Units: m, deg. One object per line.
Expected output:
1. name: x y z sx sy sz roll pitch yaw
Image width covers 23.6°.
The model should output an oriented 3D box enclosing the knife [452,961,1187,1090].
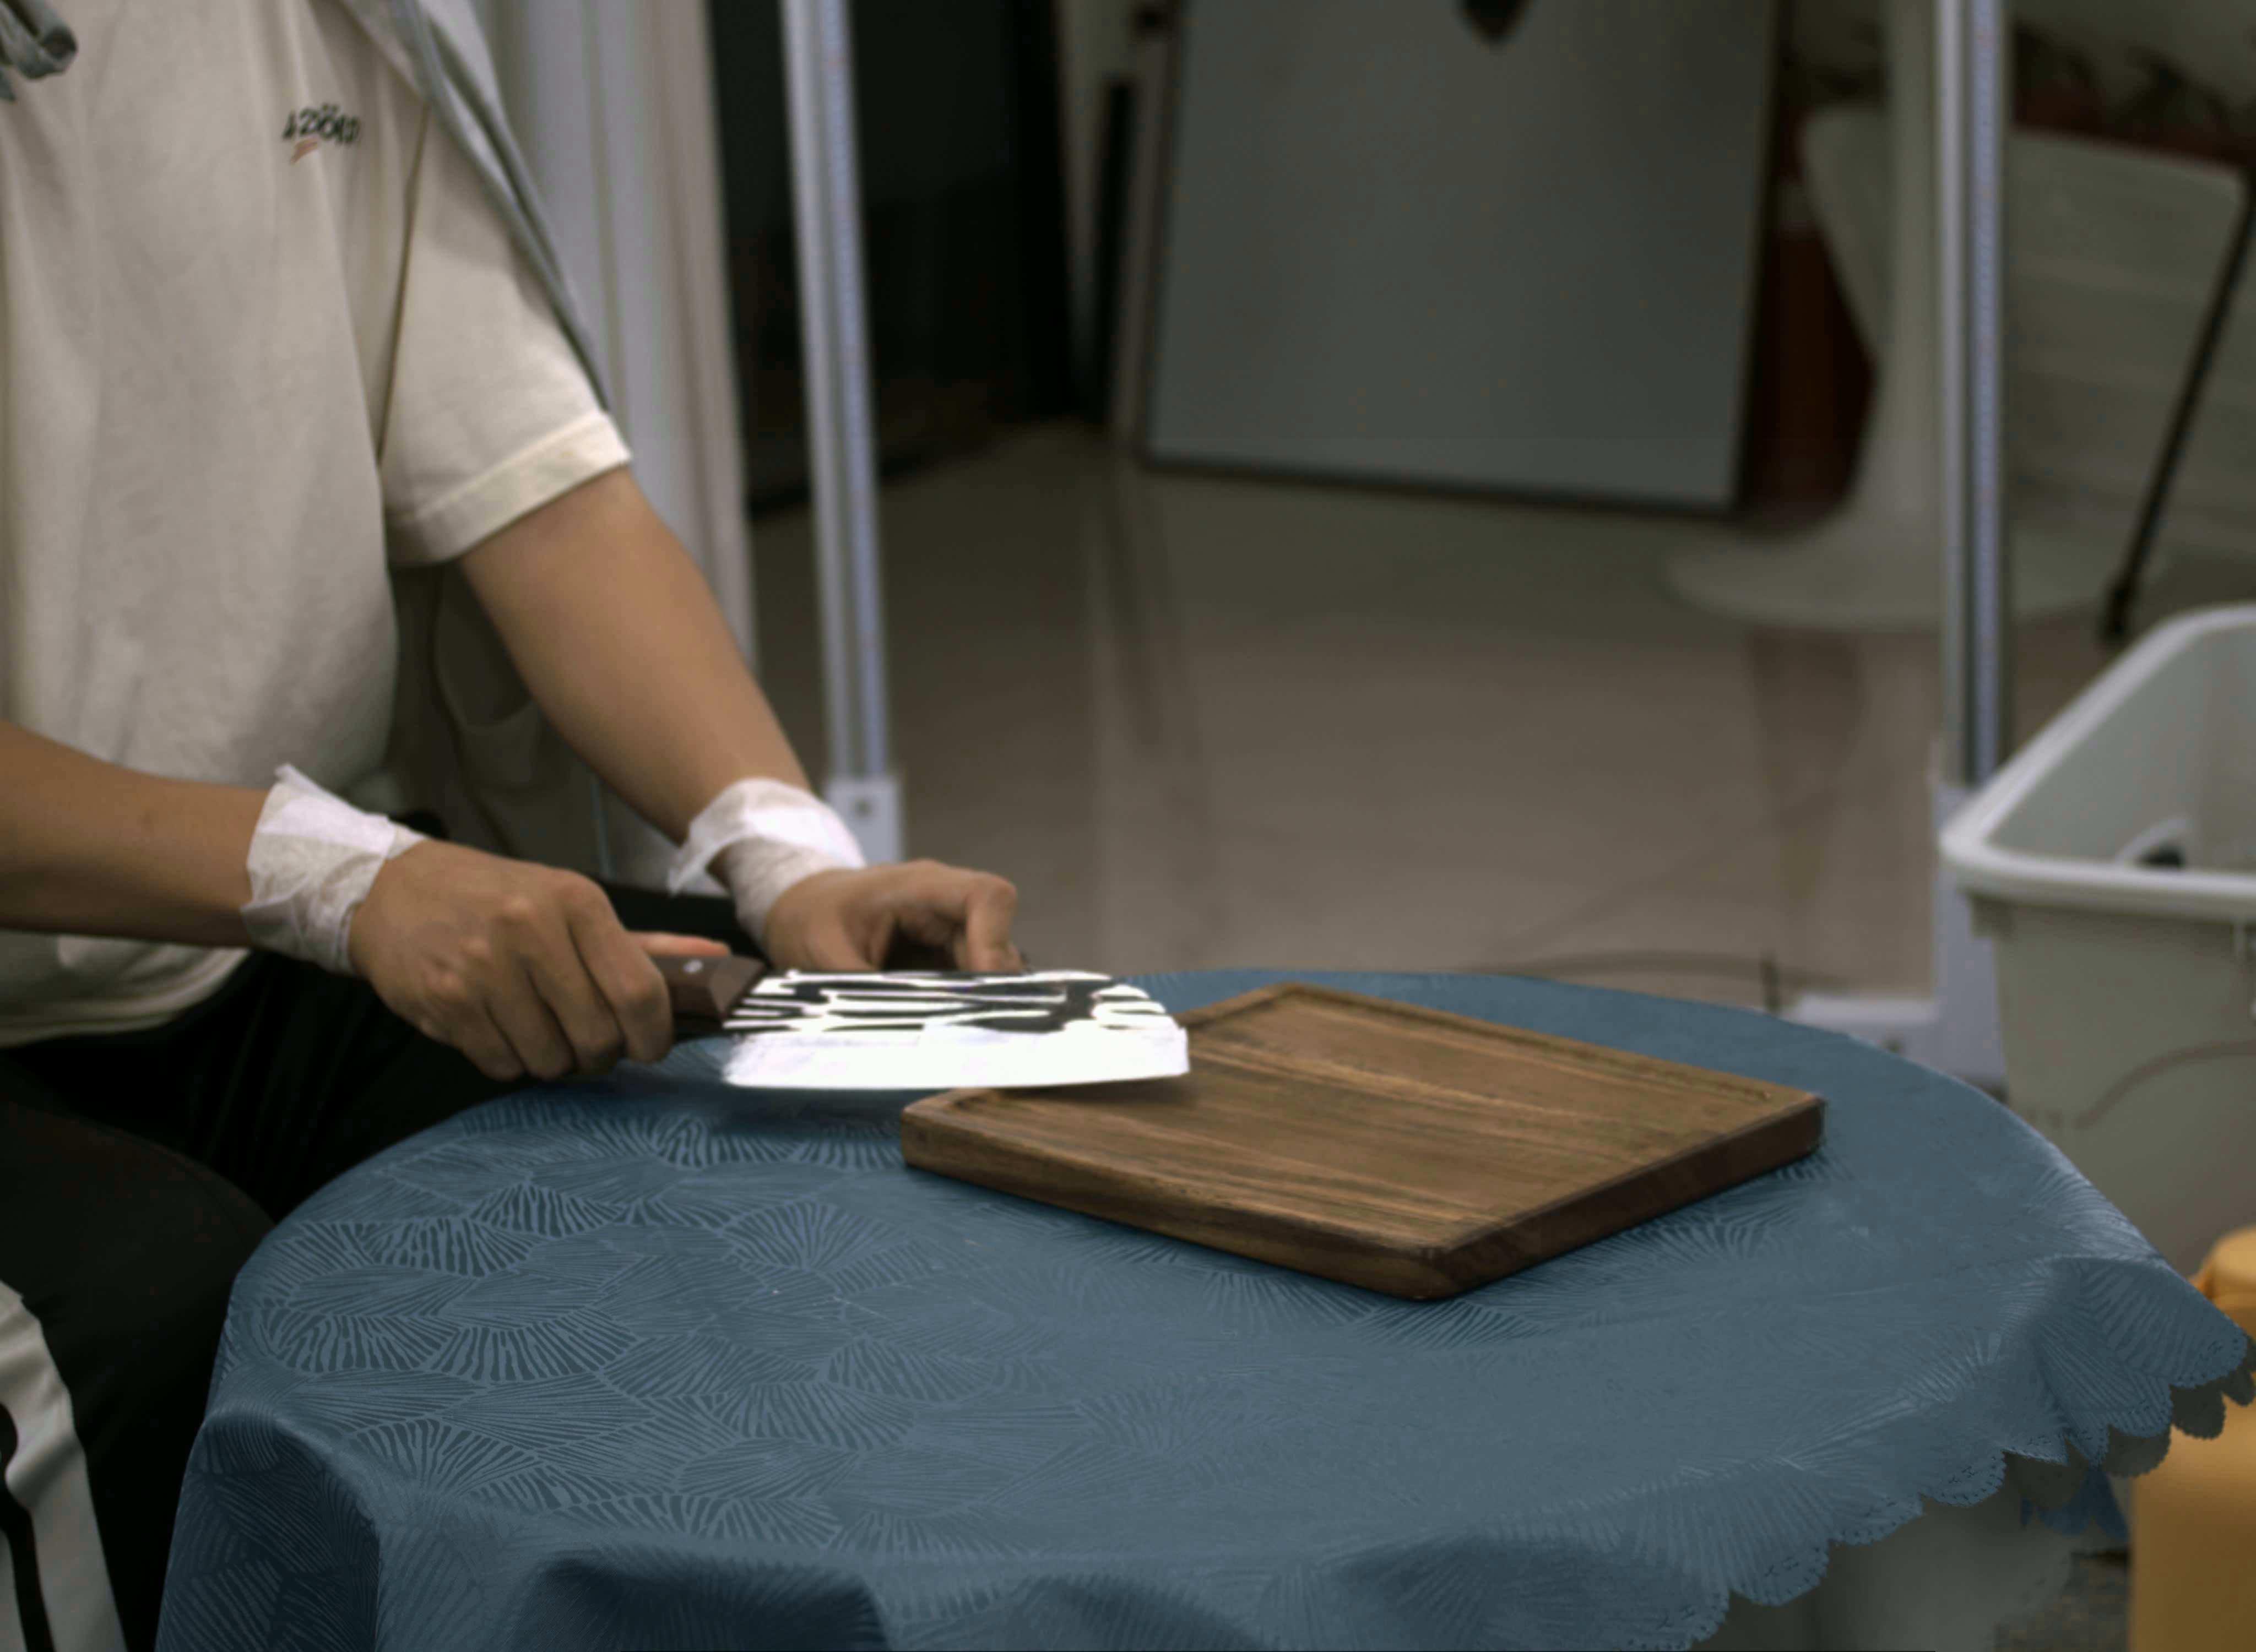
1. knife: -0.112 0.072 1.888 0.299 0.024 0.068 0 35 23

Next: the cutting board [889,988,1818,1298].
1. cutting board: 0.041 0.095 1.826 0.197 0.023 0.355 -16 18 -41
